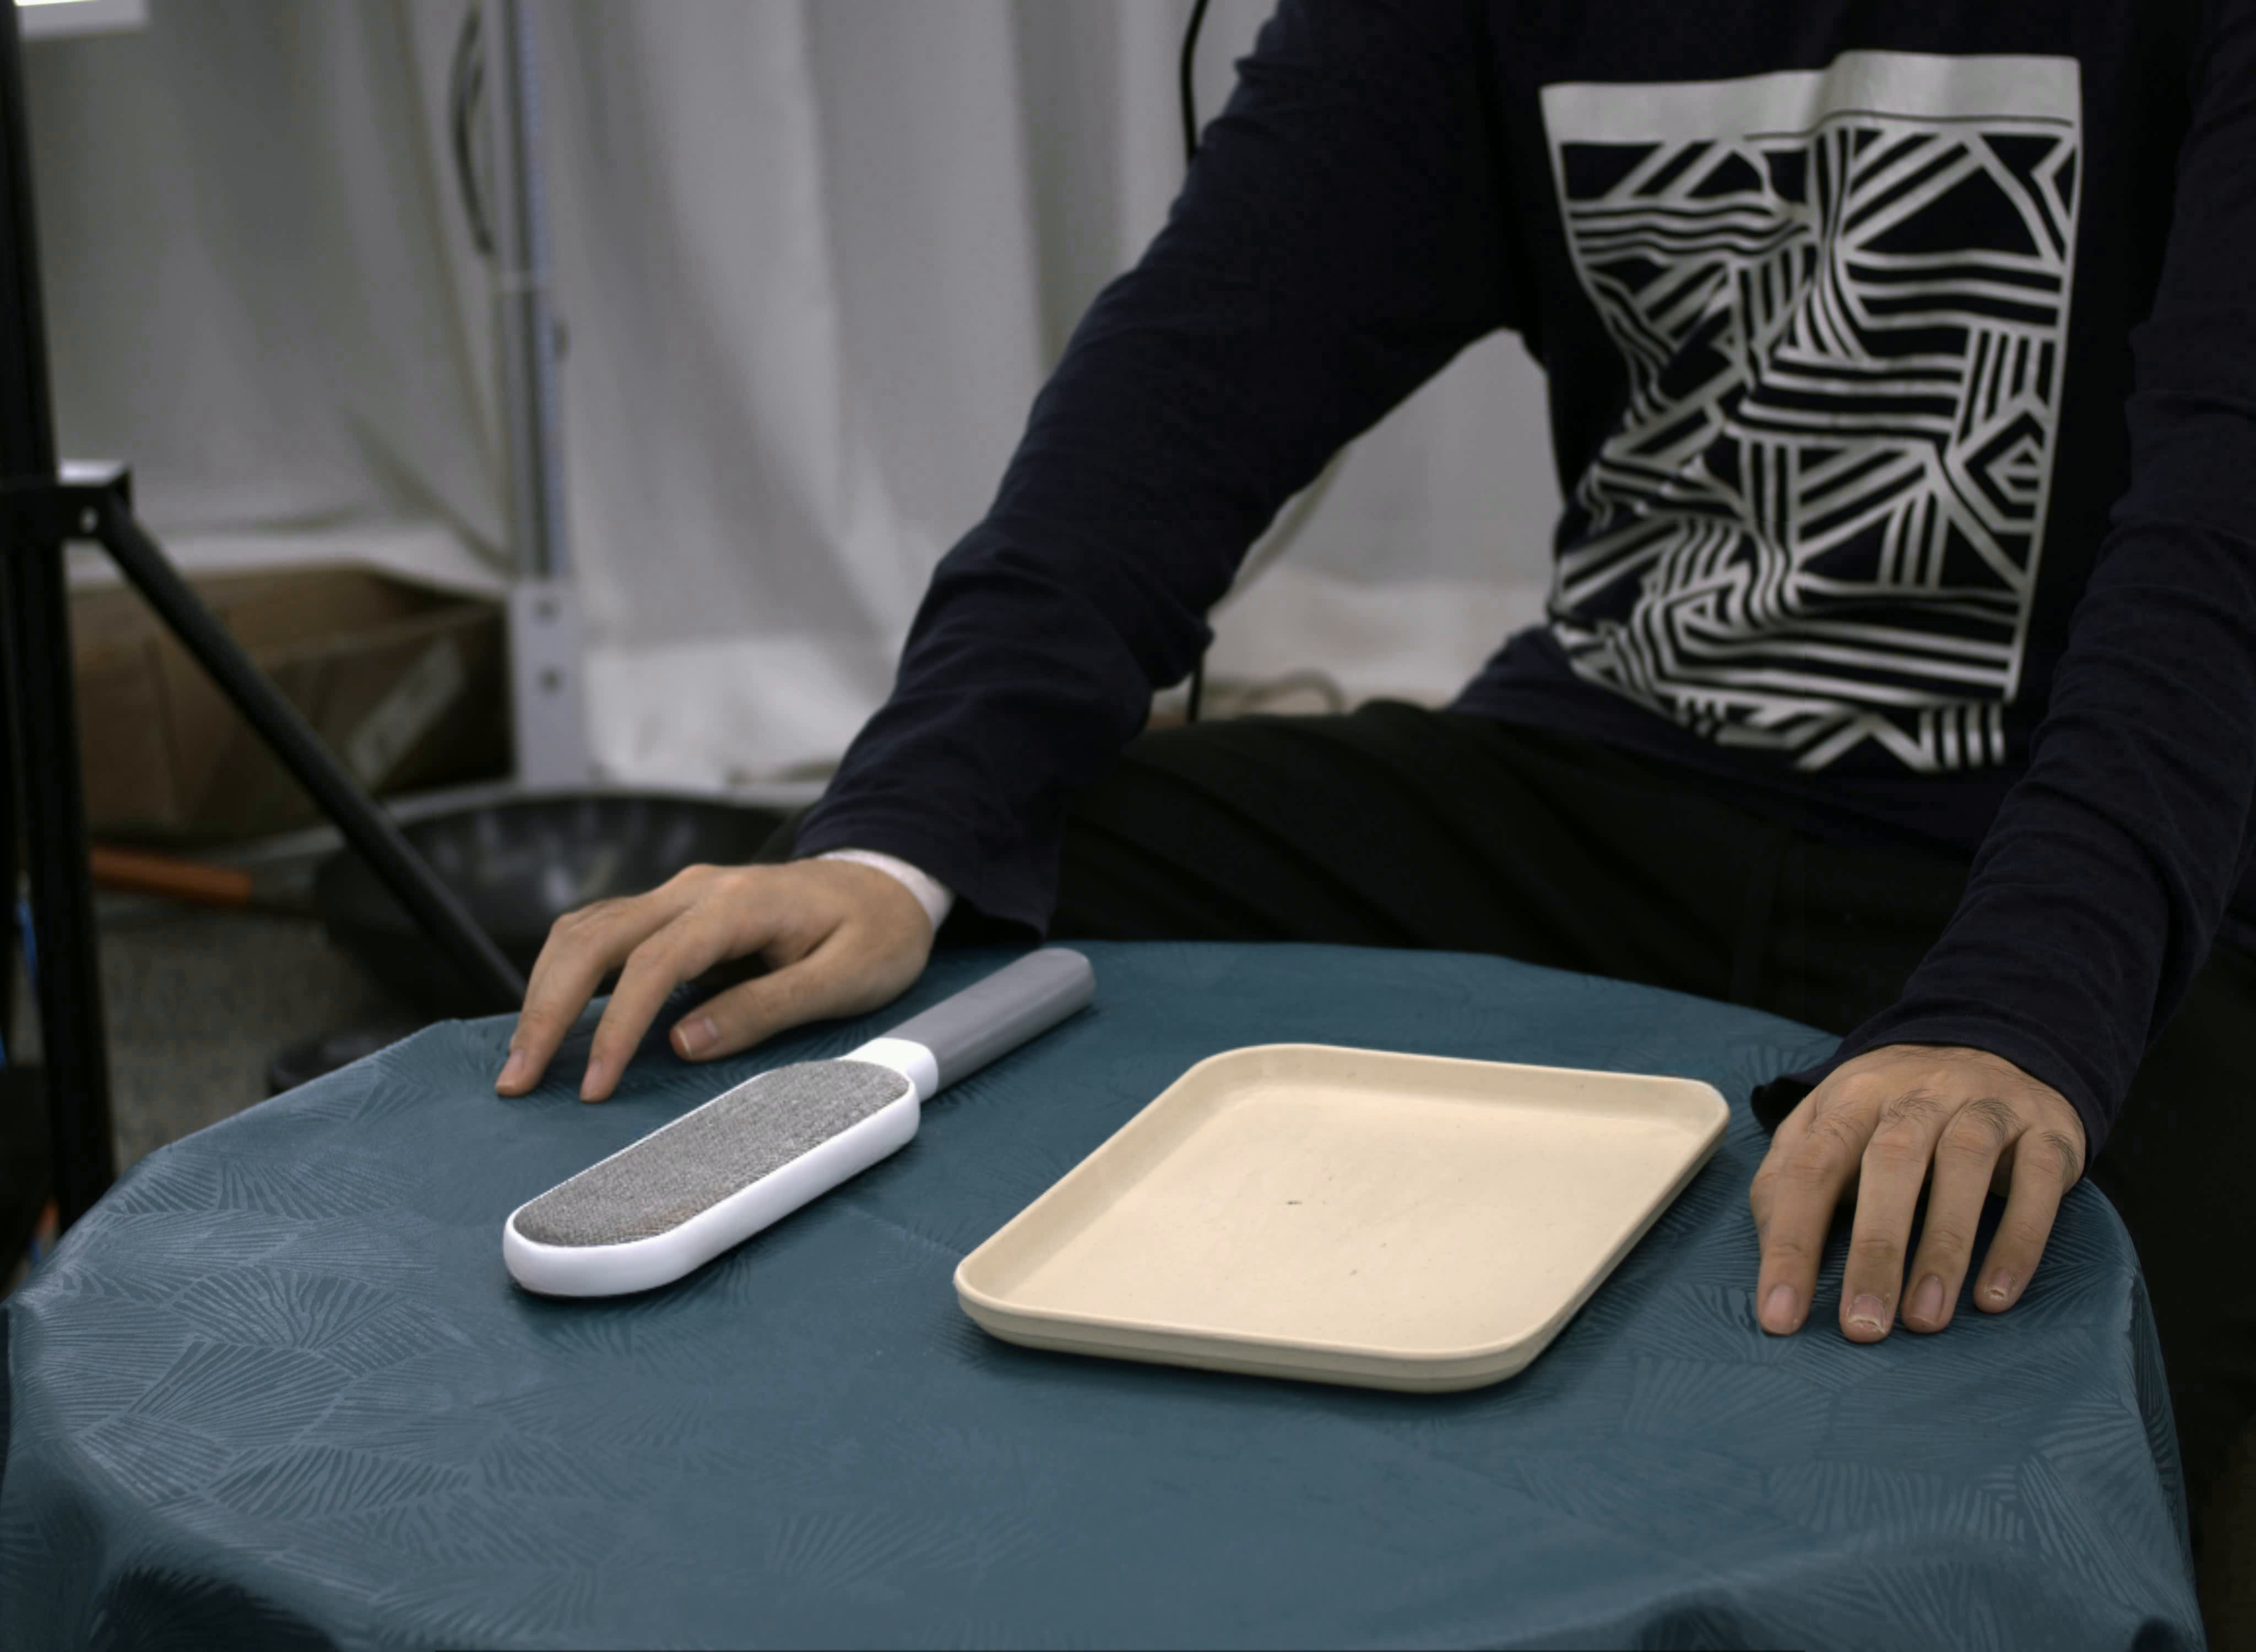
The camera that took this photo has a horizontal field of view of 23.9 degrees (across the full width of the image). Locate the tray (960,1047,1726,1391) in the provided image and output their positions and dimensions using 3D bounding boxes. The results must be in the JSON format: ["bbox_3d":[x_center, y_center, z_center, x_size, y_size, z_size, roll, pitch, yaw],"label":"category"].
[{"bbox_3d":[0.066,0.110,1.511,0.173,0.017,0.236,3,17,22],"label":"tray"}]

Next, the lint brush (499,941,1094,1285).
[{"bbox_3d":[-0.090,0.084,1.613,0.061,0.021,0.303,0,15,30],"label":"lint brush"}]
